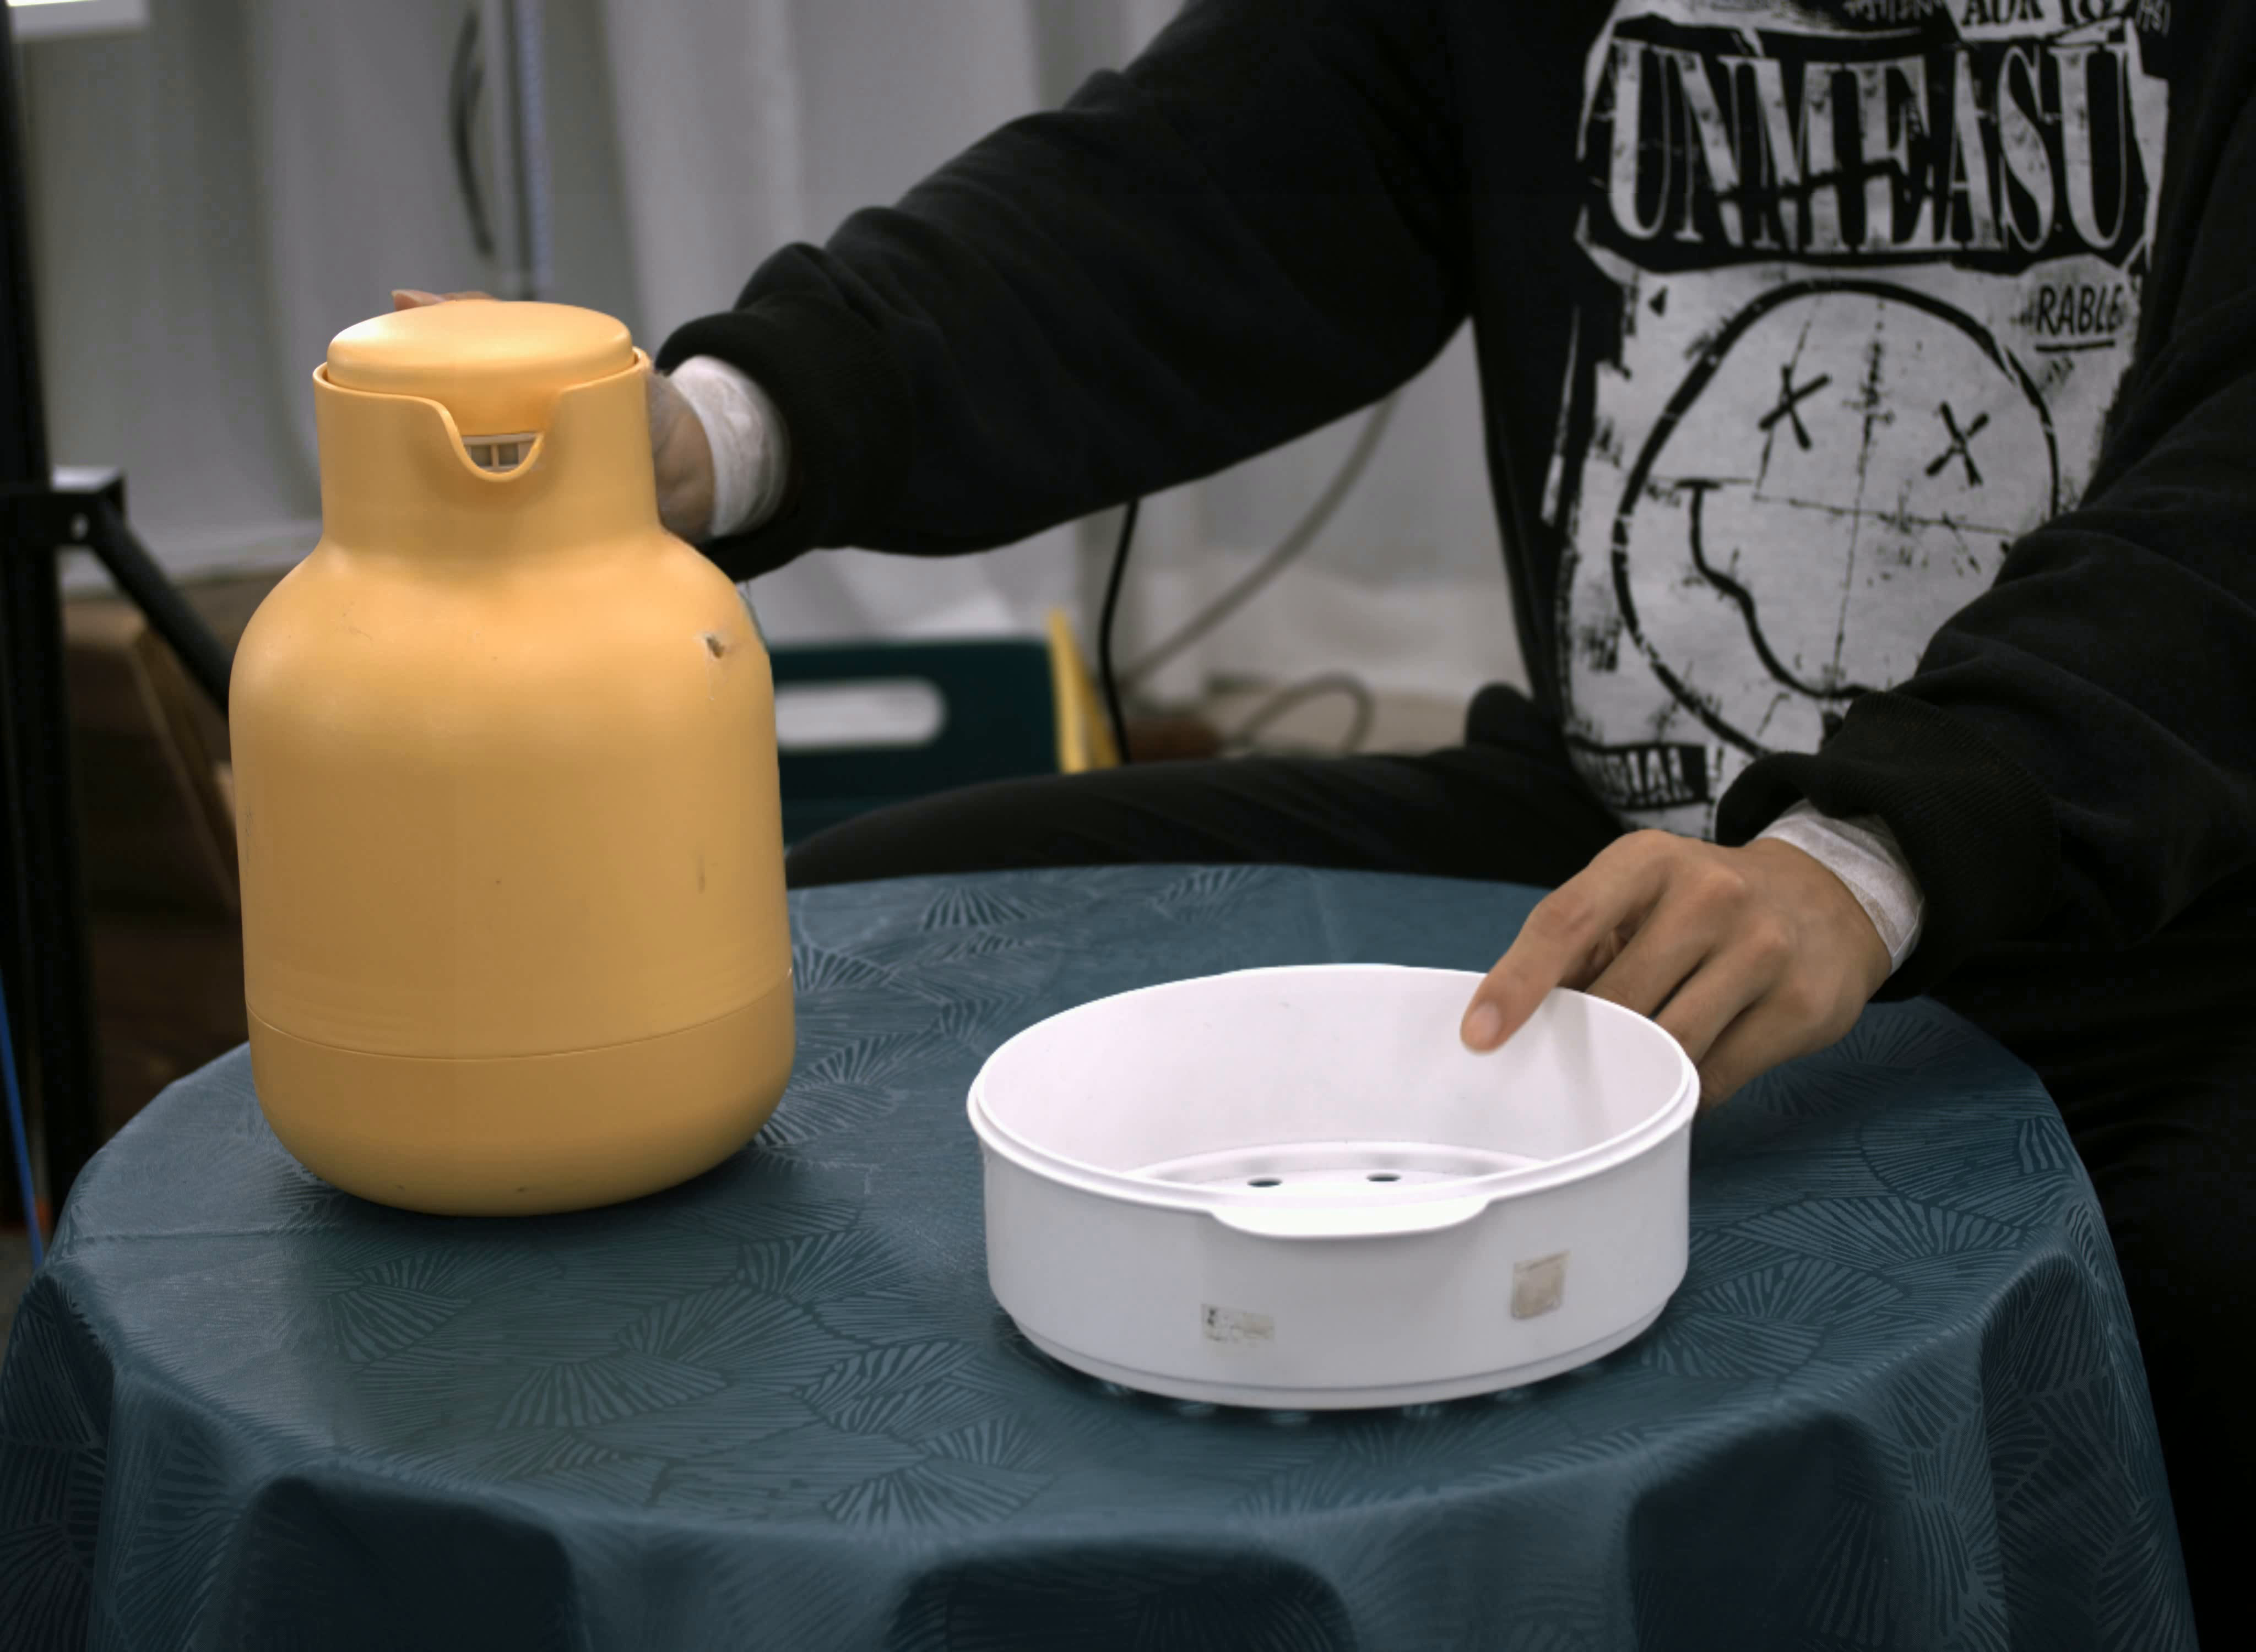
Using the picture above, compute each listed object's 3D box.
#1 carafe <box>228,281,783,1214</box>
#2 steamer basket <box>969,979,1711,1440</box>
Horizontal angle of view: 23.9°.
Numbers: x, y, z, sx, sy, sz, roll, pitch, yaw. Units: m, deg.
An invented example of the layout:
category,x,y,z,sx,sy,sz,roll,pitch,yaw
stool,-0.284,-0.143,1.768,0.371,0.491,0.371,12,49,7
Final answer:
category,x,y,z,sx,sy,sz,roll,pitch,yaw
carafe,-0.186,-0.031,1.598,0.162,0.260,0.204,-1,17,-6
steamer basket,0.059,0.104,1.446,0.201,0.069,0.231,-3,16,1
